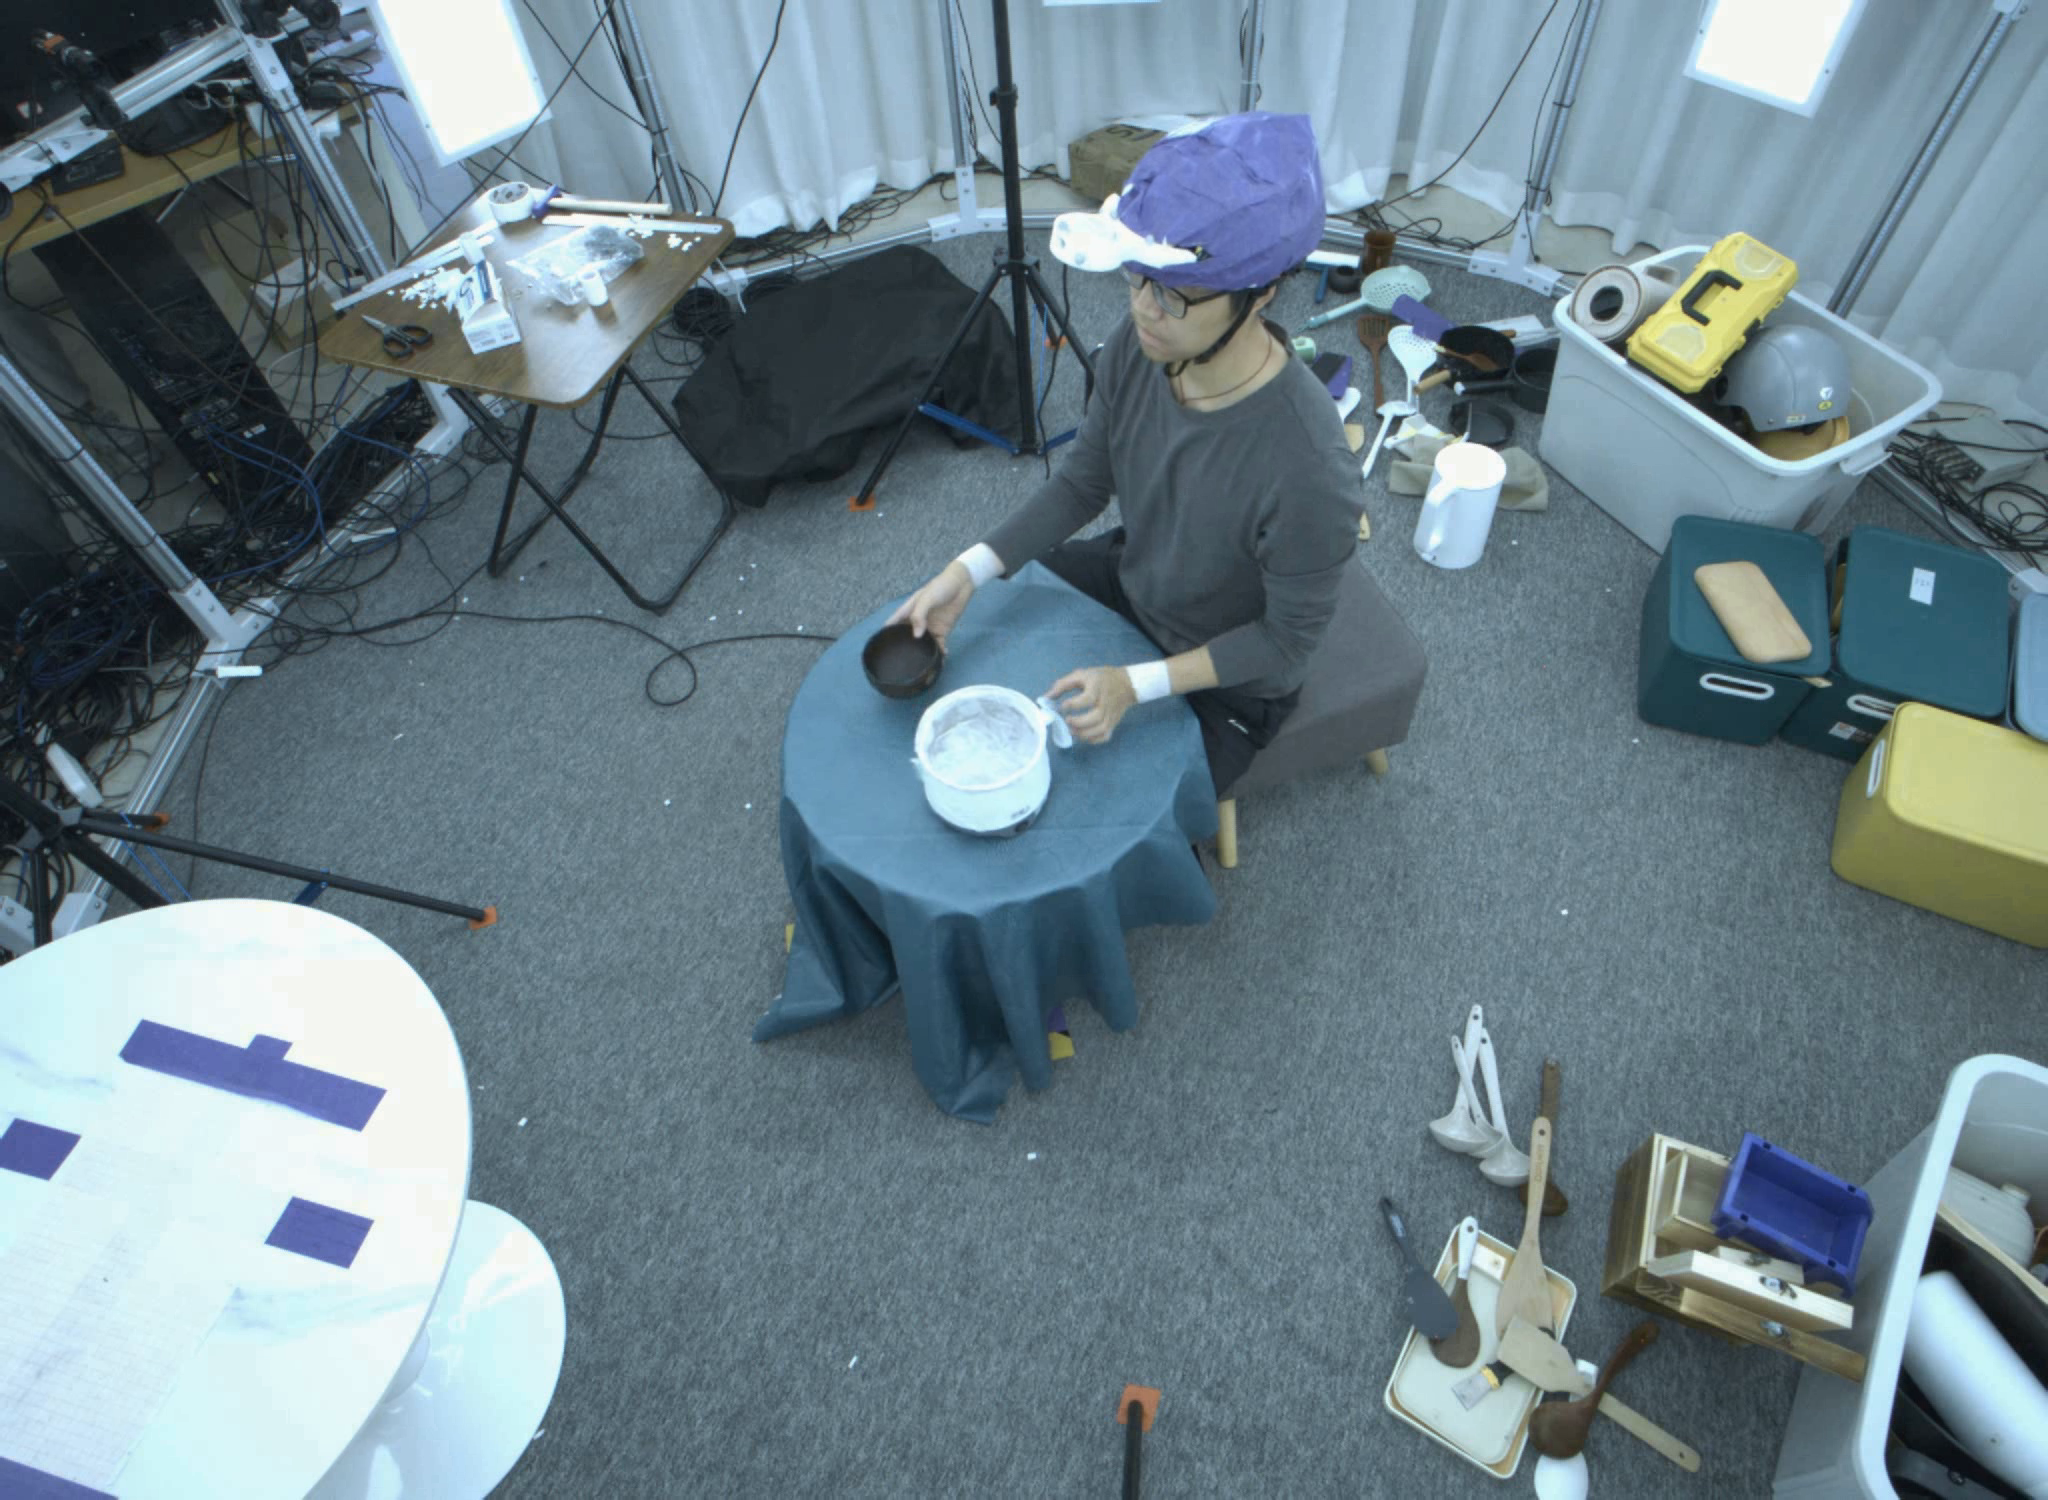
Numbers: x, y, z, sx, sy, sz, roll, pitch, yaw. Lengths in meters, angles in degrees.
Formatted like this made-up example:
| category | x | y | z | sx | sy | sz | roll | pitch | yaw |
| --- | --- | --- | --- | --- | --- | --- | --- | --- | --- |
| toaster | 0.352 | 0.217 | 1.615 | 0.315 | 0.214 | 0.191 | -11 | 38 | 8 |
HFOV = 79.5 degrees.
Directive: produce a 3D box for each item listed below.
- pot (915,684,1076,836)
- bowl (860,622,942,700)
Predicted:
| category | x | y | z | sx | sy | sz | roll | pitch | yaw |
| --- | --- | --- | --- | --- | --- | --- | --- | --- | --- |
| pot | -0.032 | 0.004 | 1.708 | 0.235 | 0.138 | 0.175 | -31 | 59 | -19 |
| bowl | -0.177 | -0.123 | 1.802 | 0.117 | 0.071 | 0.117 | -3 | 56 | 5 |
